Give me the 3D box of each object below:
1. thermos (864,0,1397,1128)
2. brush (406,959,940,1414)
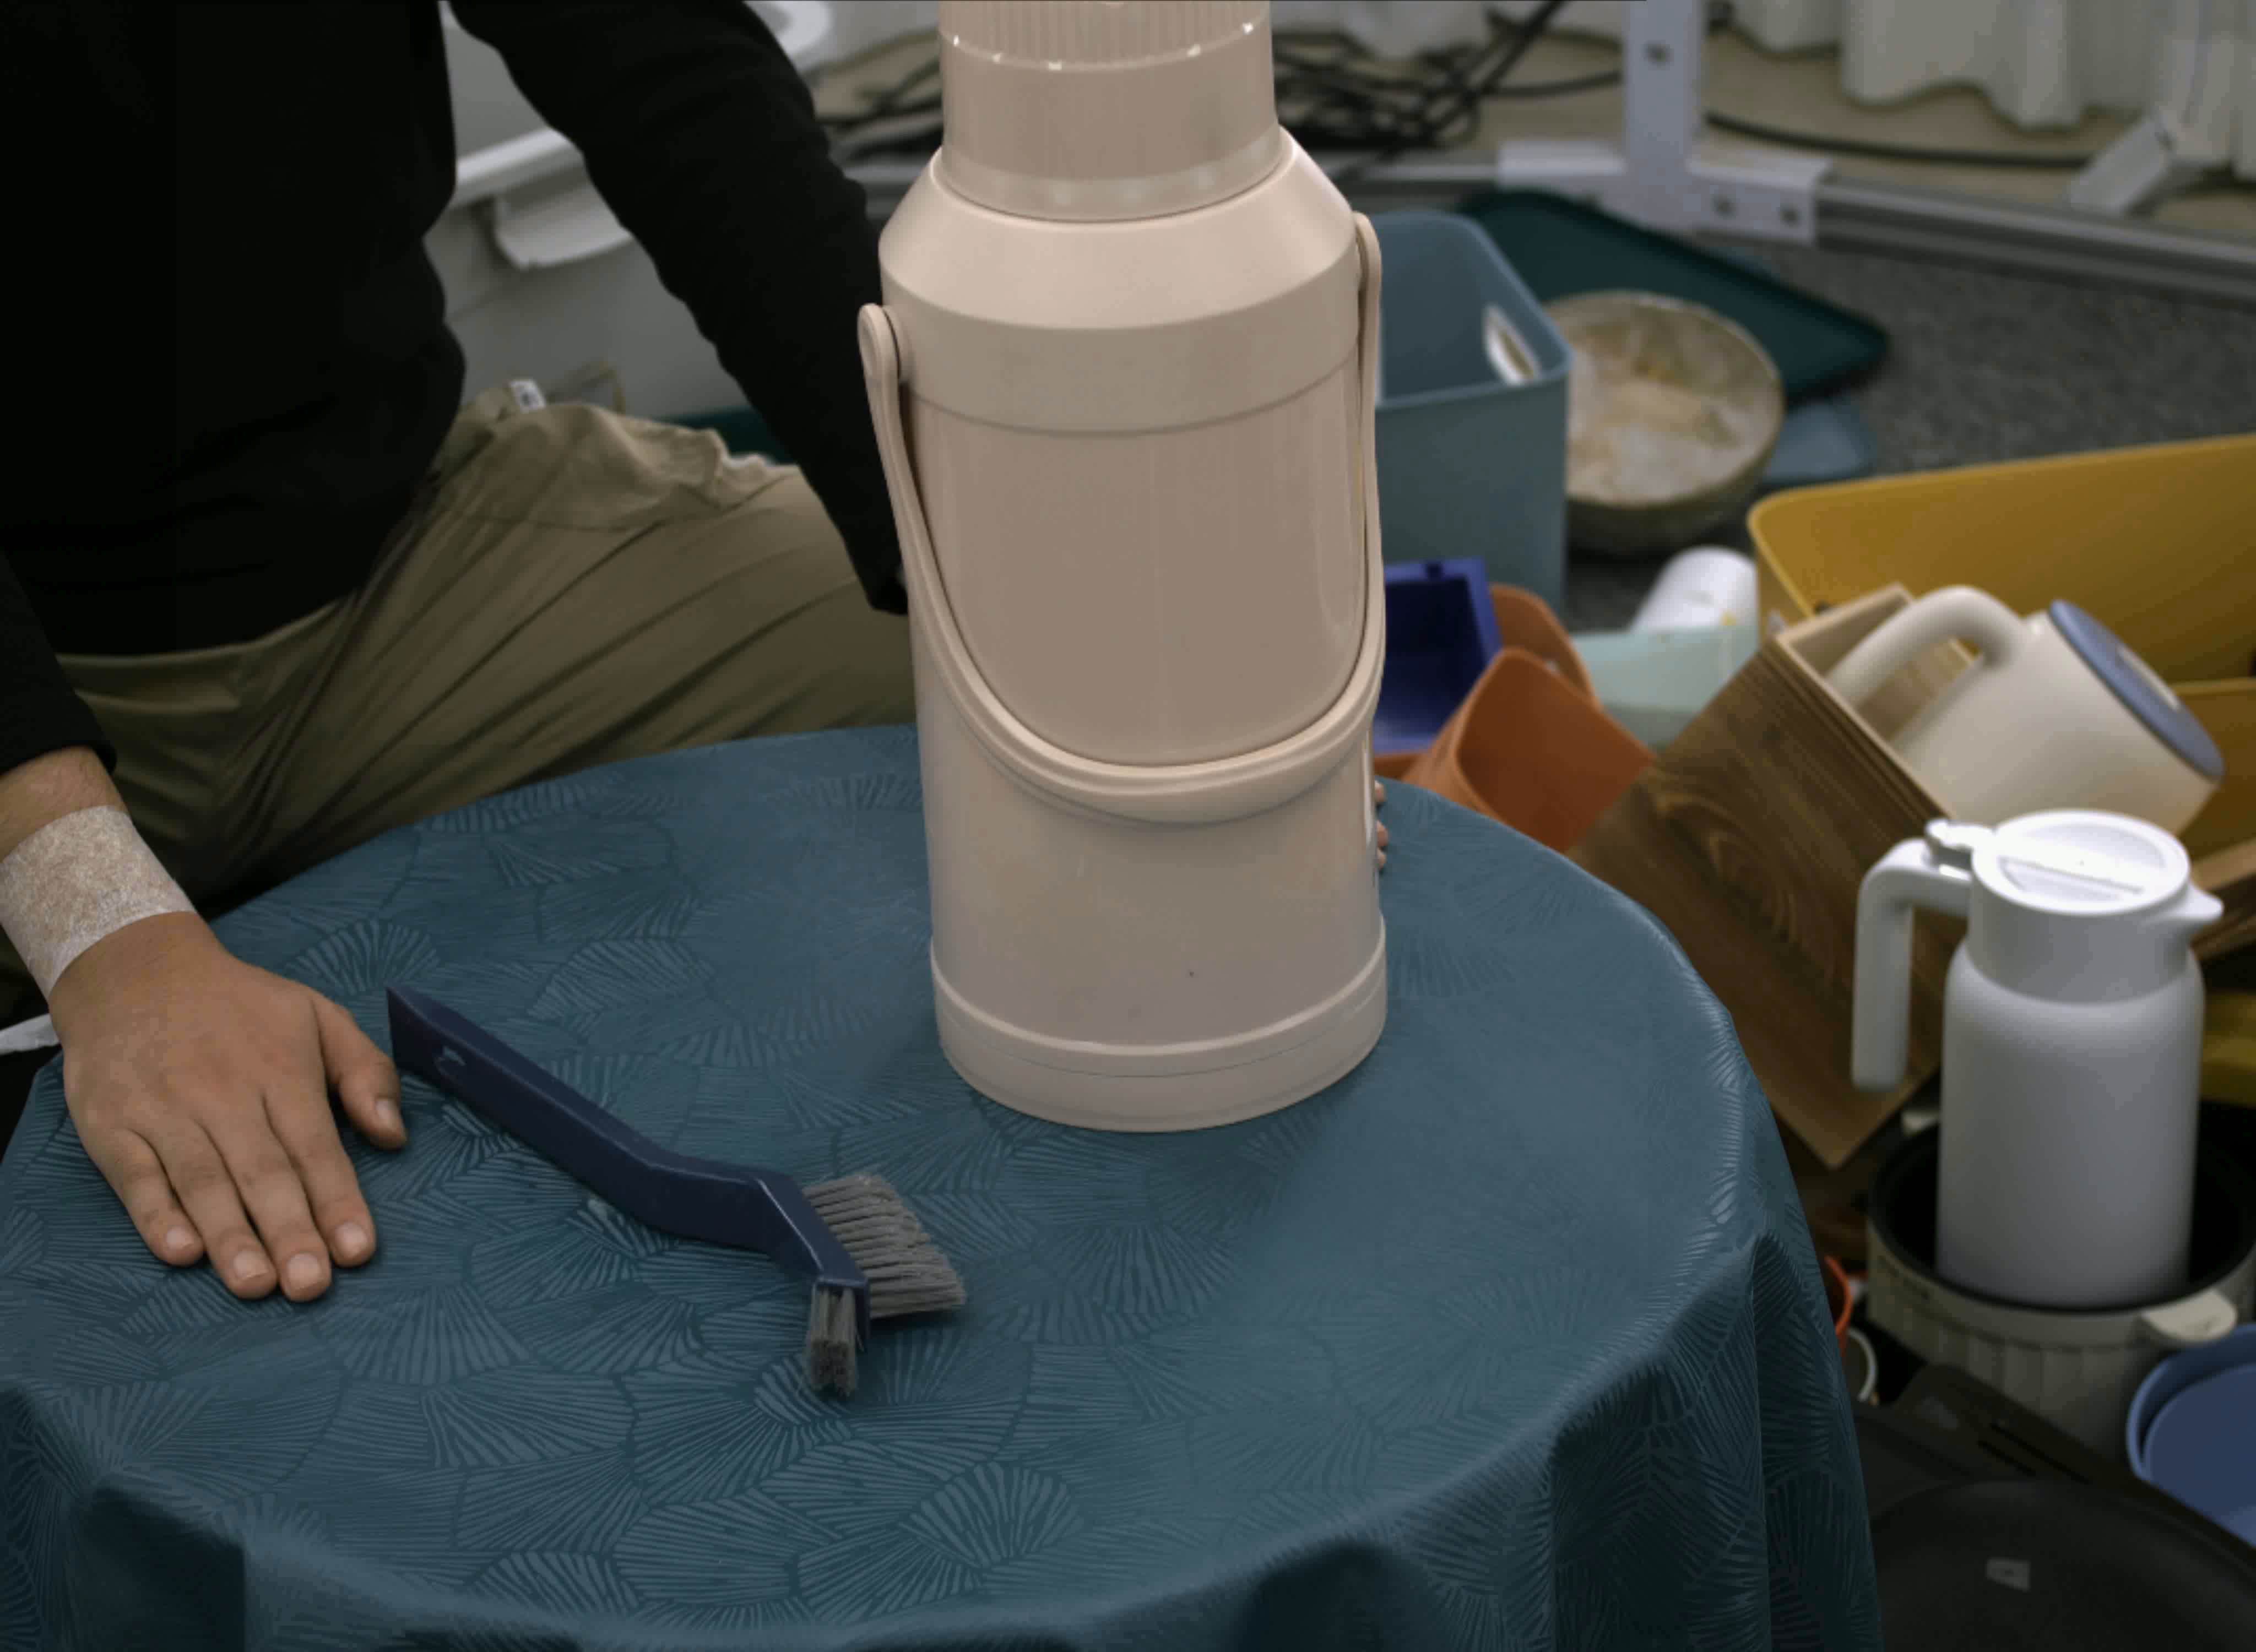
[{"bbox_3d":[0.000,-0.115,1.893,0.176,0.402,0.208,-14,28,-17],"label":"thermos"},{"bbox_3d":[-0.169,0.114,1.856,0.273,0.033,0.097,23,36,36],"label":"brush"}]
